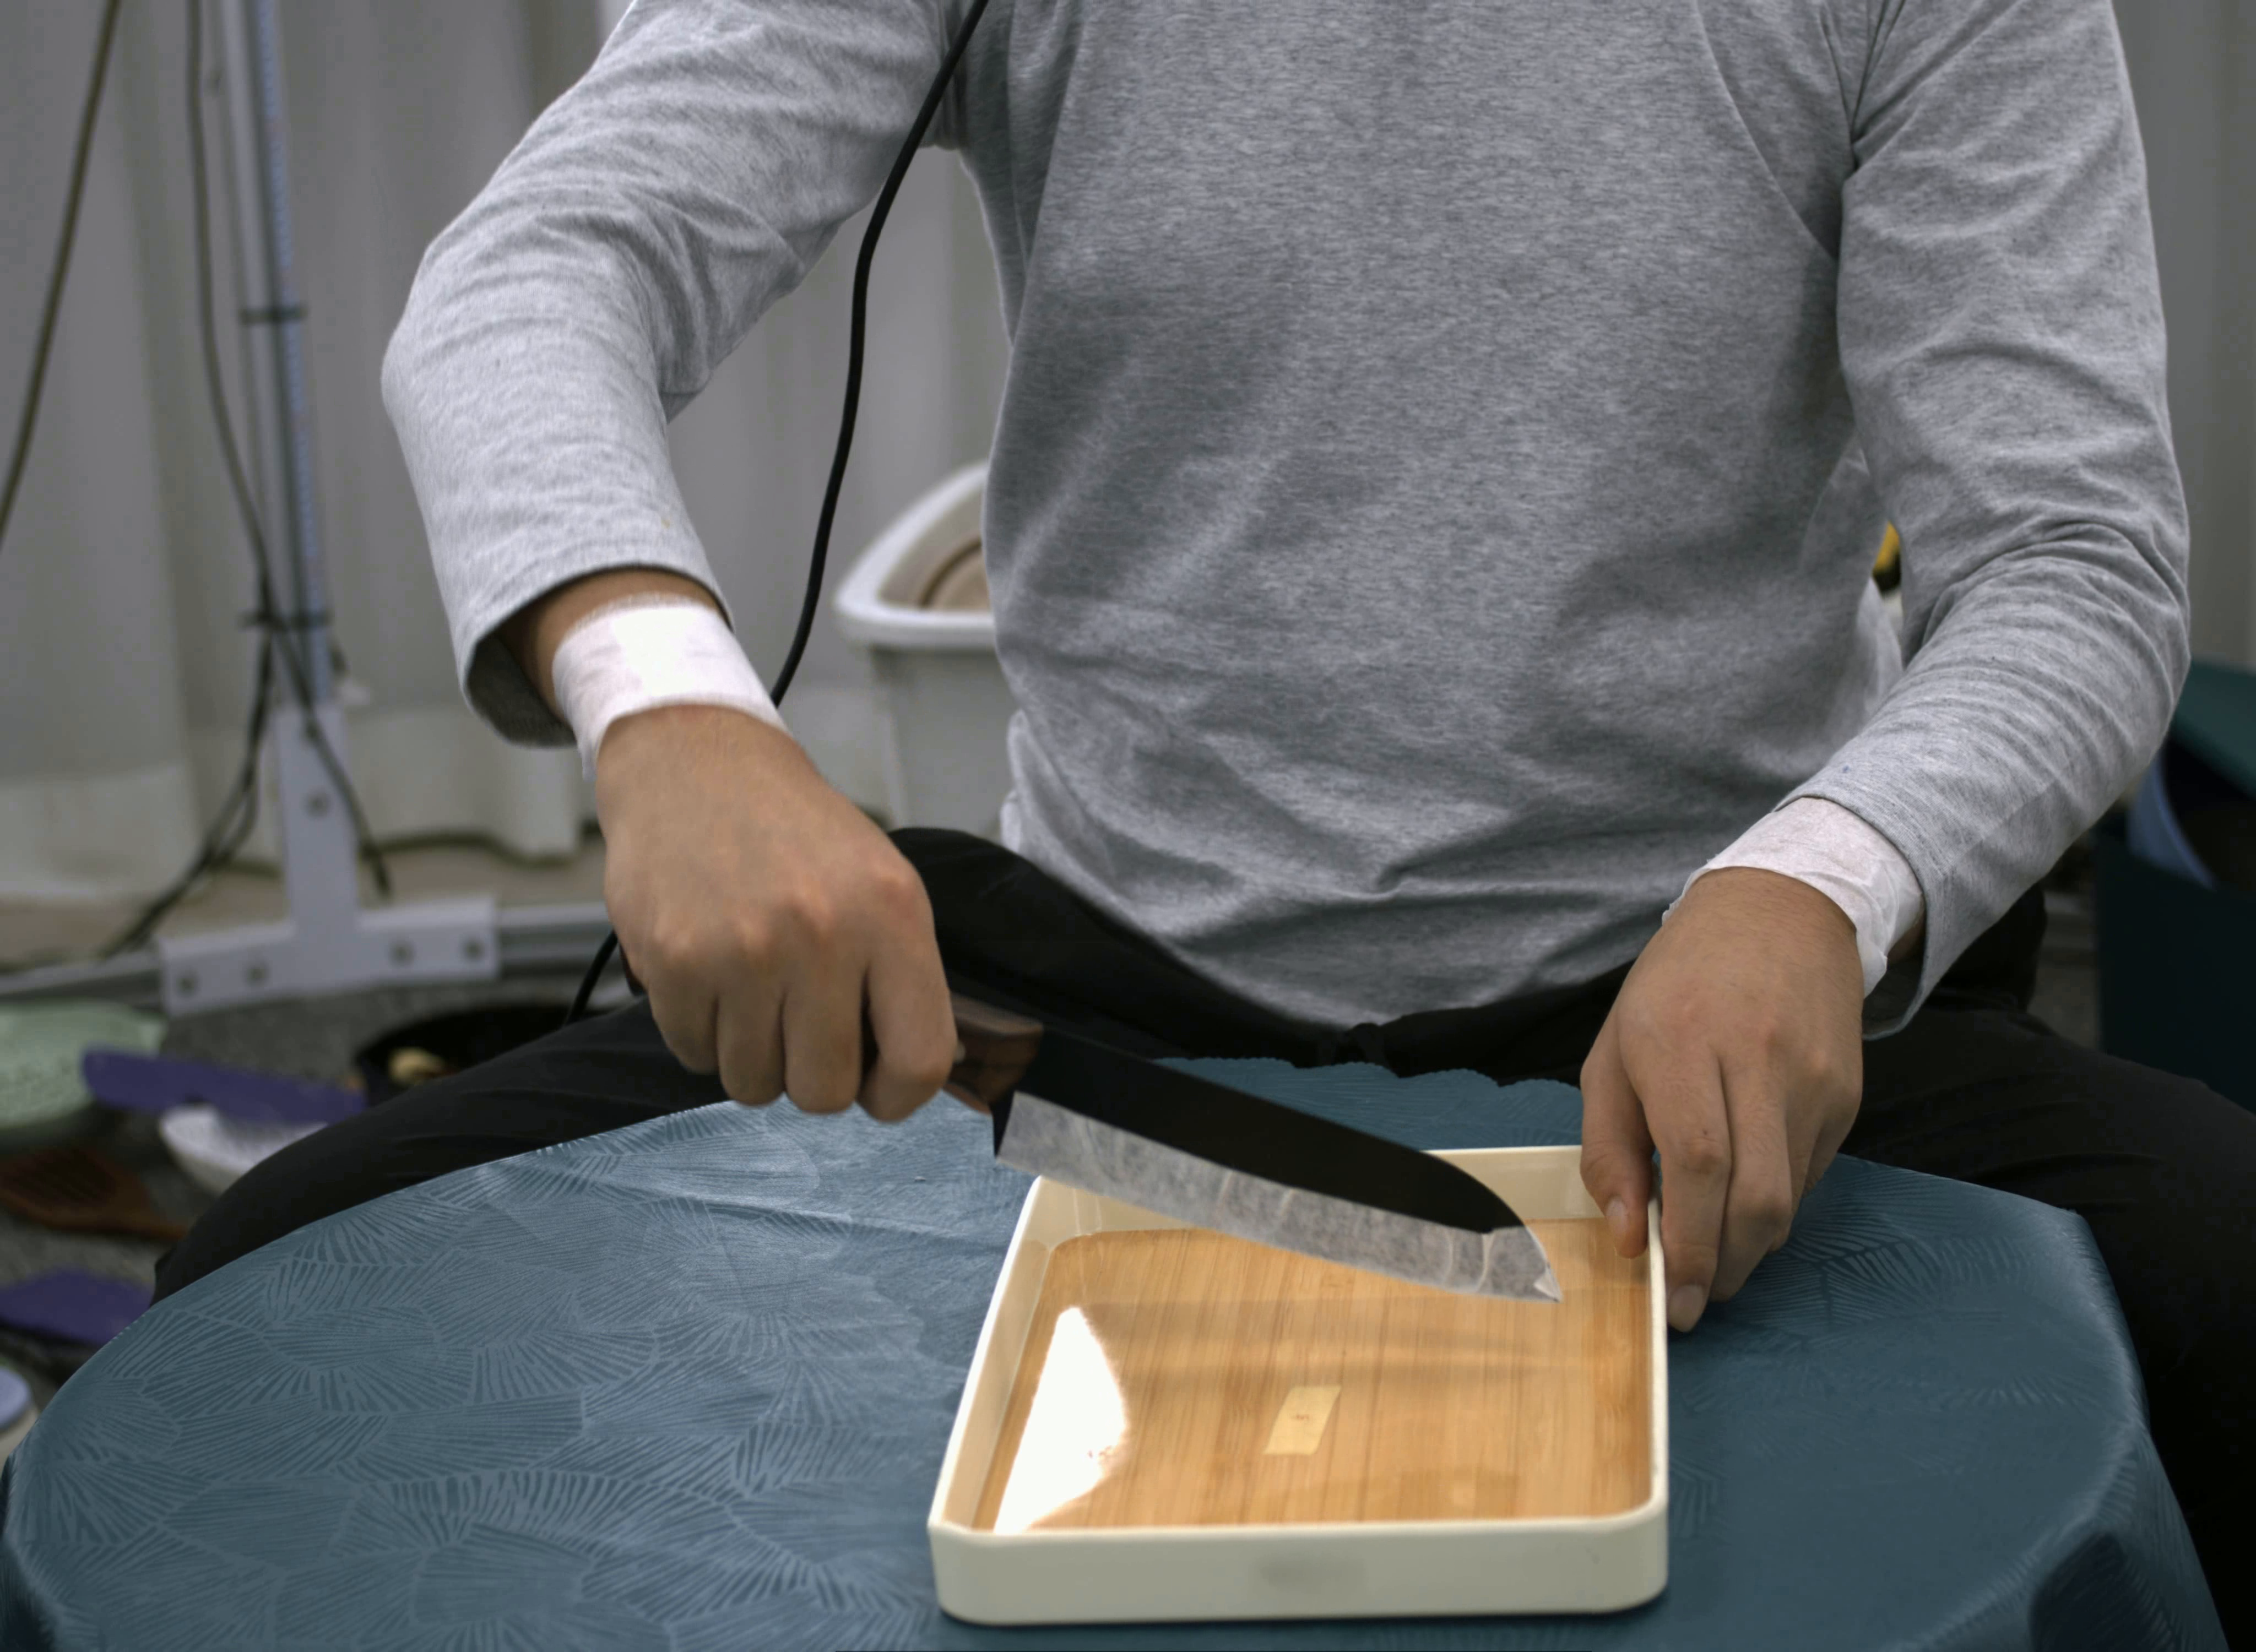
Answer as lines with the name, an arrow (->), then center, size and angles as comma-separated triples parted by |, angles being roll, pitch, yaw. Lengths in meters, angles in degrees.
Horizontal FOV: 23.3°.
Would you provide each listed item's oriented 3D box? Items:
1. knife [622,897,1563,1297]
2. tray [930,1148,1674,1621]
knife -> -0.011, 0.077, 1.549 | 0.289, 0.050, 0.020 | 20, 19, 8
tray -> 0.055, 0.150, 1.516 | 0.191, 0.027, 0.302 | -2, 15, 6
